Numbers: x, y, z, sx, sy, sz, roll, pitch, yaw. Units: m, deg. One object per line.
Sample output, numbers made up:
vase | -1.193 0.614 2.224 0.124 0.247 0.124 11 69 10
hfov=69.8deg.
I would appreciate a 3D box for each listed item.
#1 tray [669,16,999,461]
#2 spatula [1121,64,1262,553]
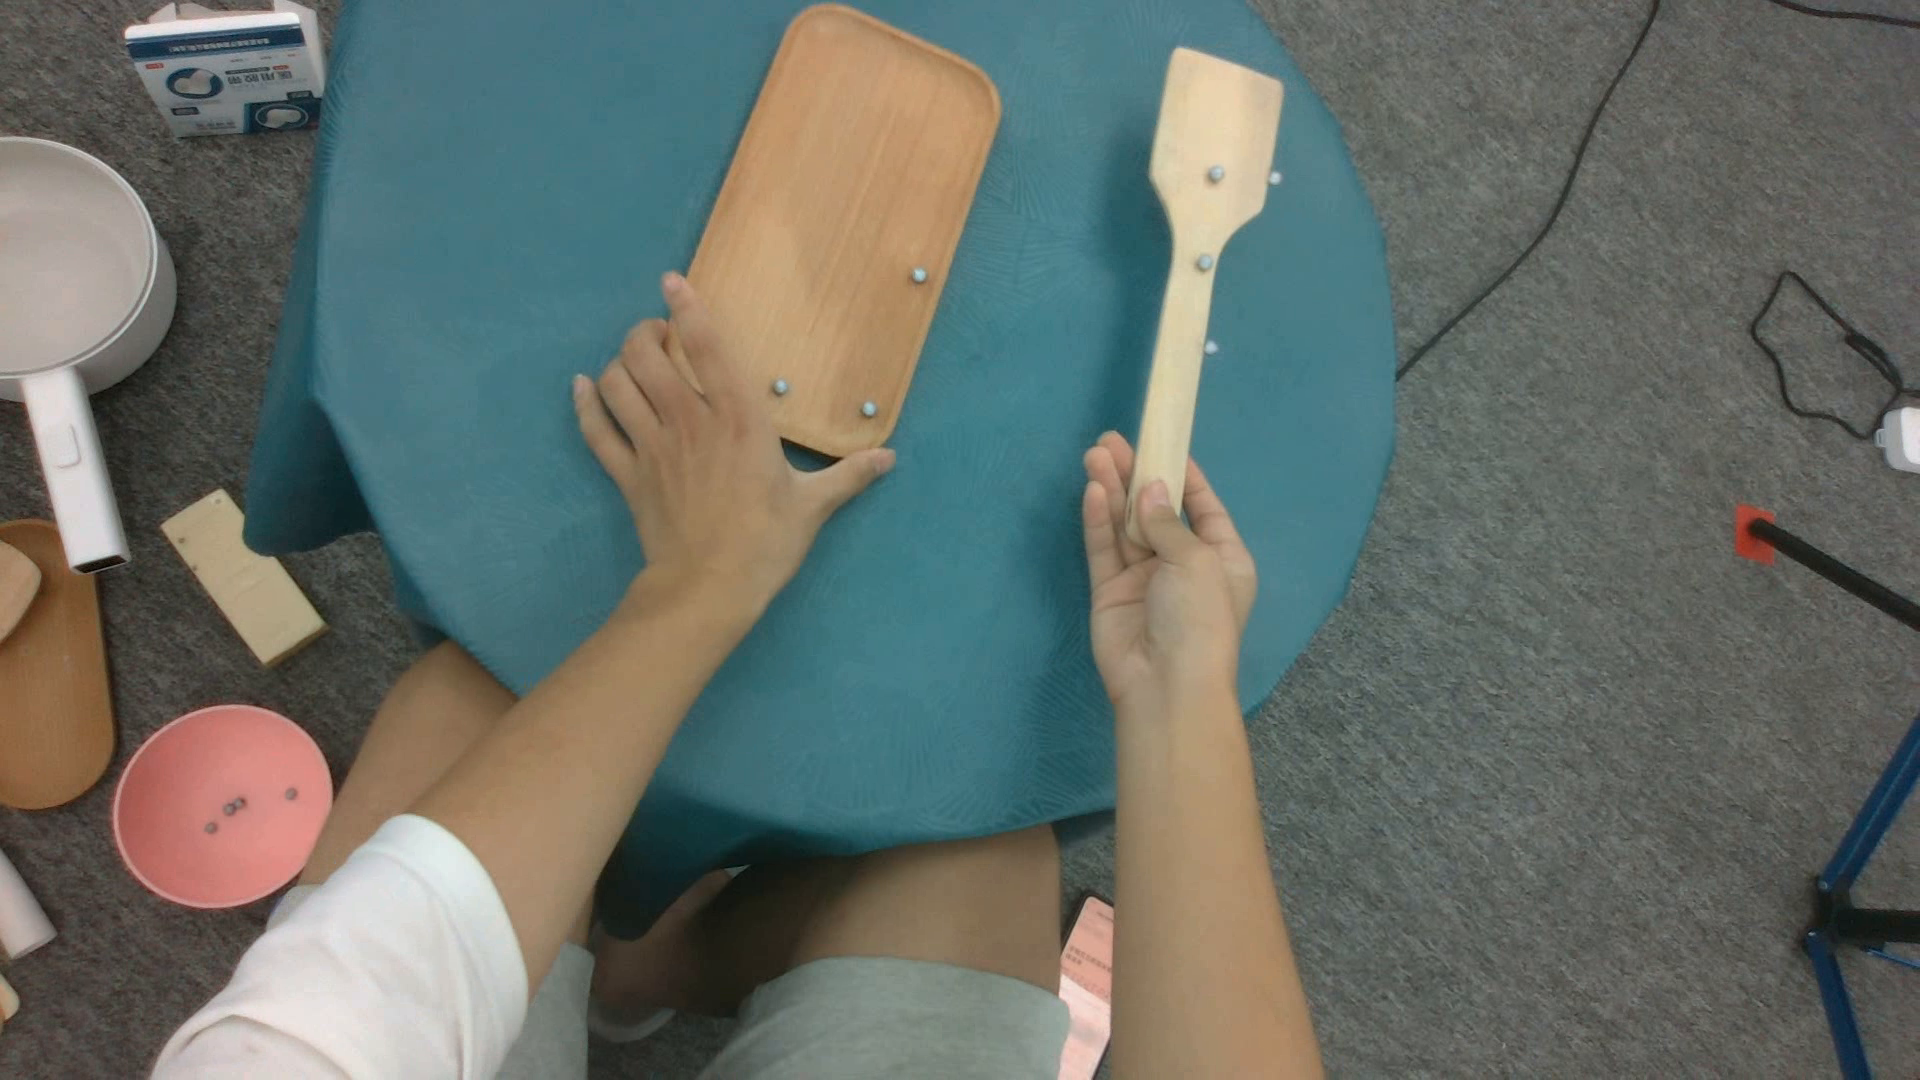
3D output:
tray | -0.066 -0.169 0.761 0.130 0.023 0.251 21 72 -11
spatula | 0.121 -0.131 0.759 0.072 0.010 0.294 14 72 -11
